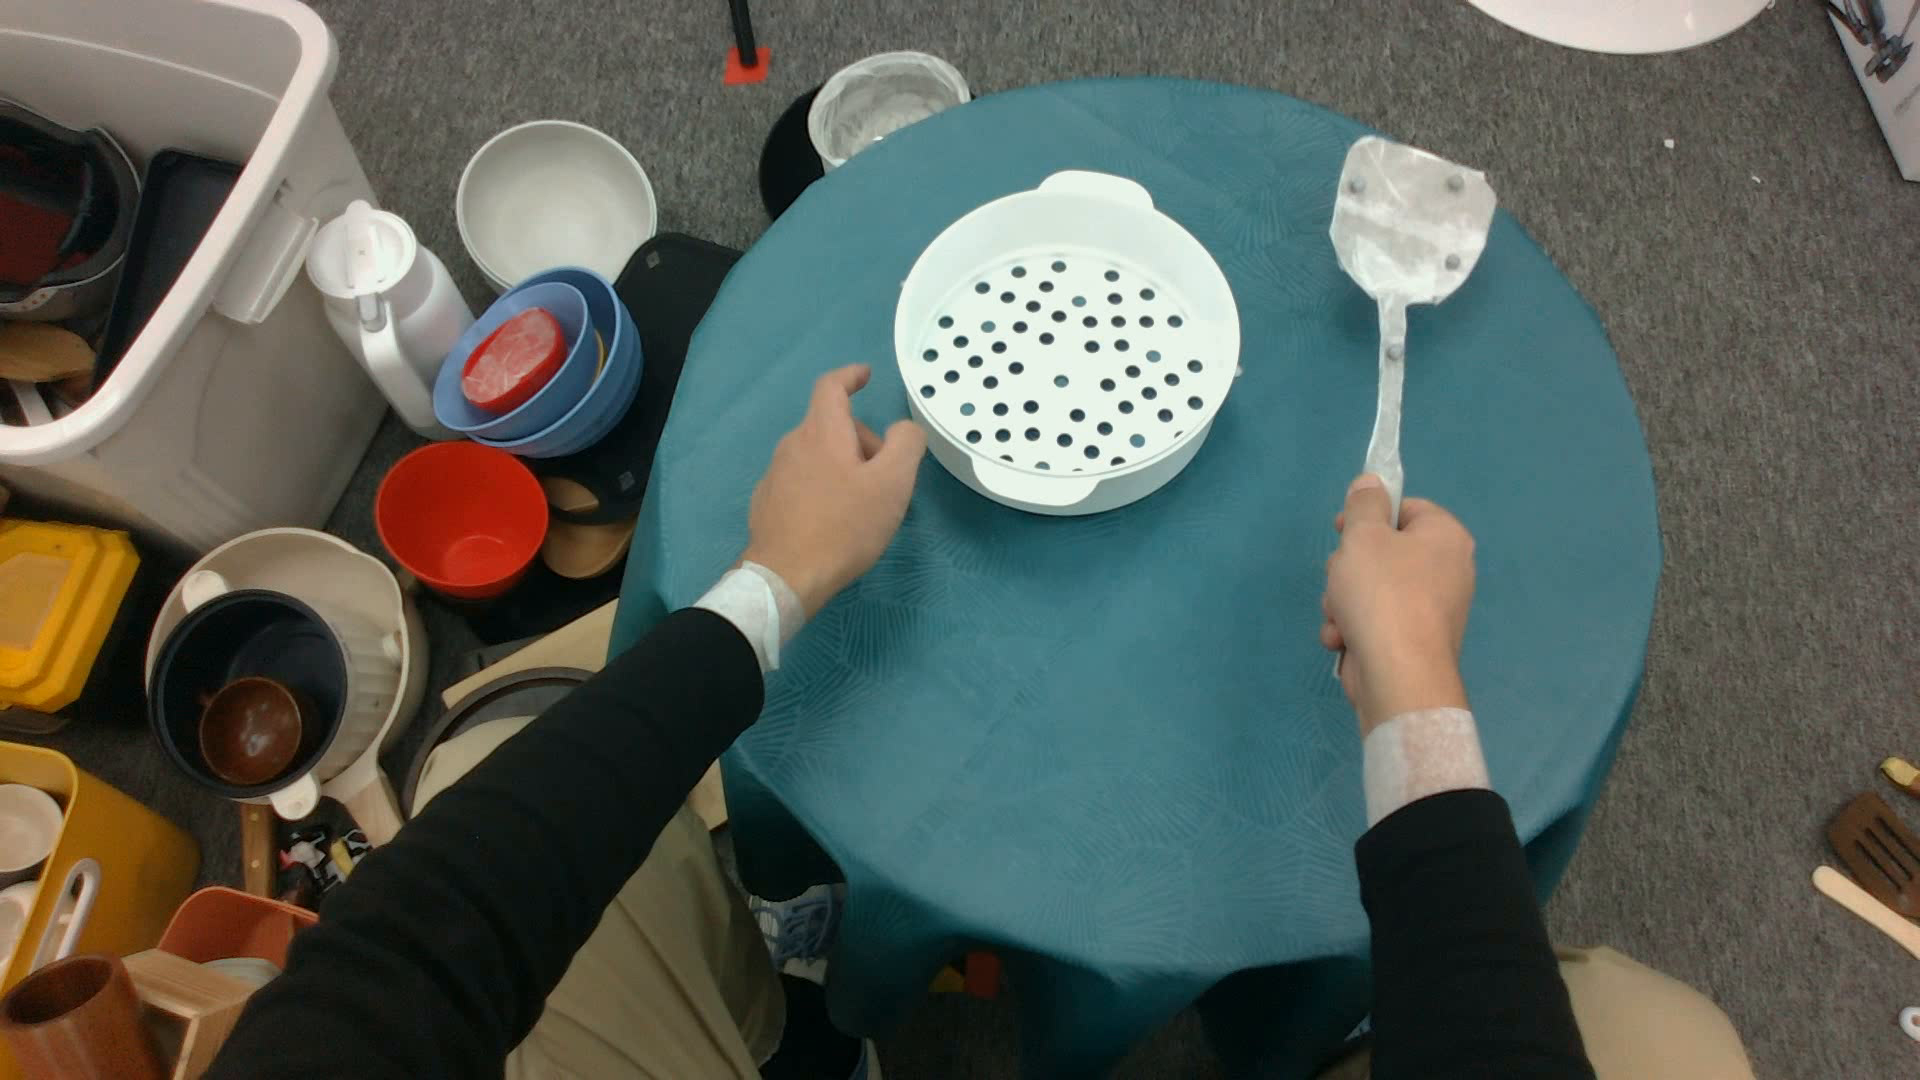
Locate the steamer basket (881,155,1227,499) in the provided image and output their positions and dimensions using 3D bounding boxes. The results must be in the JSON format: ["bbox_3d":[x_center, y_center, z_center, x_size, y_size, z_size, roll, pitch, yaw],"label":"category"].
[{"bbox_3d":[0.055,-0.121,0.828,0.202,0.069,0.231,11,67,6],"label":"steamer basket"}]

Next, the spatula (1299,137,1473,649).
[{"bbox_3d":[0.231,-0.093,0.777,0.099,0.044,0.367,21,54,-4],"label":"spatula"}]
